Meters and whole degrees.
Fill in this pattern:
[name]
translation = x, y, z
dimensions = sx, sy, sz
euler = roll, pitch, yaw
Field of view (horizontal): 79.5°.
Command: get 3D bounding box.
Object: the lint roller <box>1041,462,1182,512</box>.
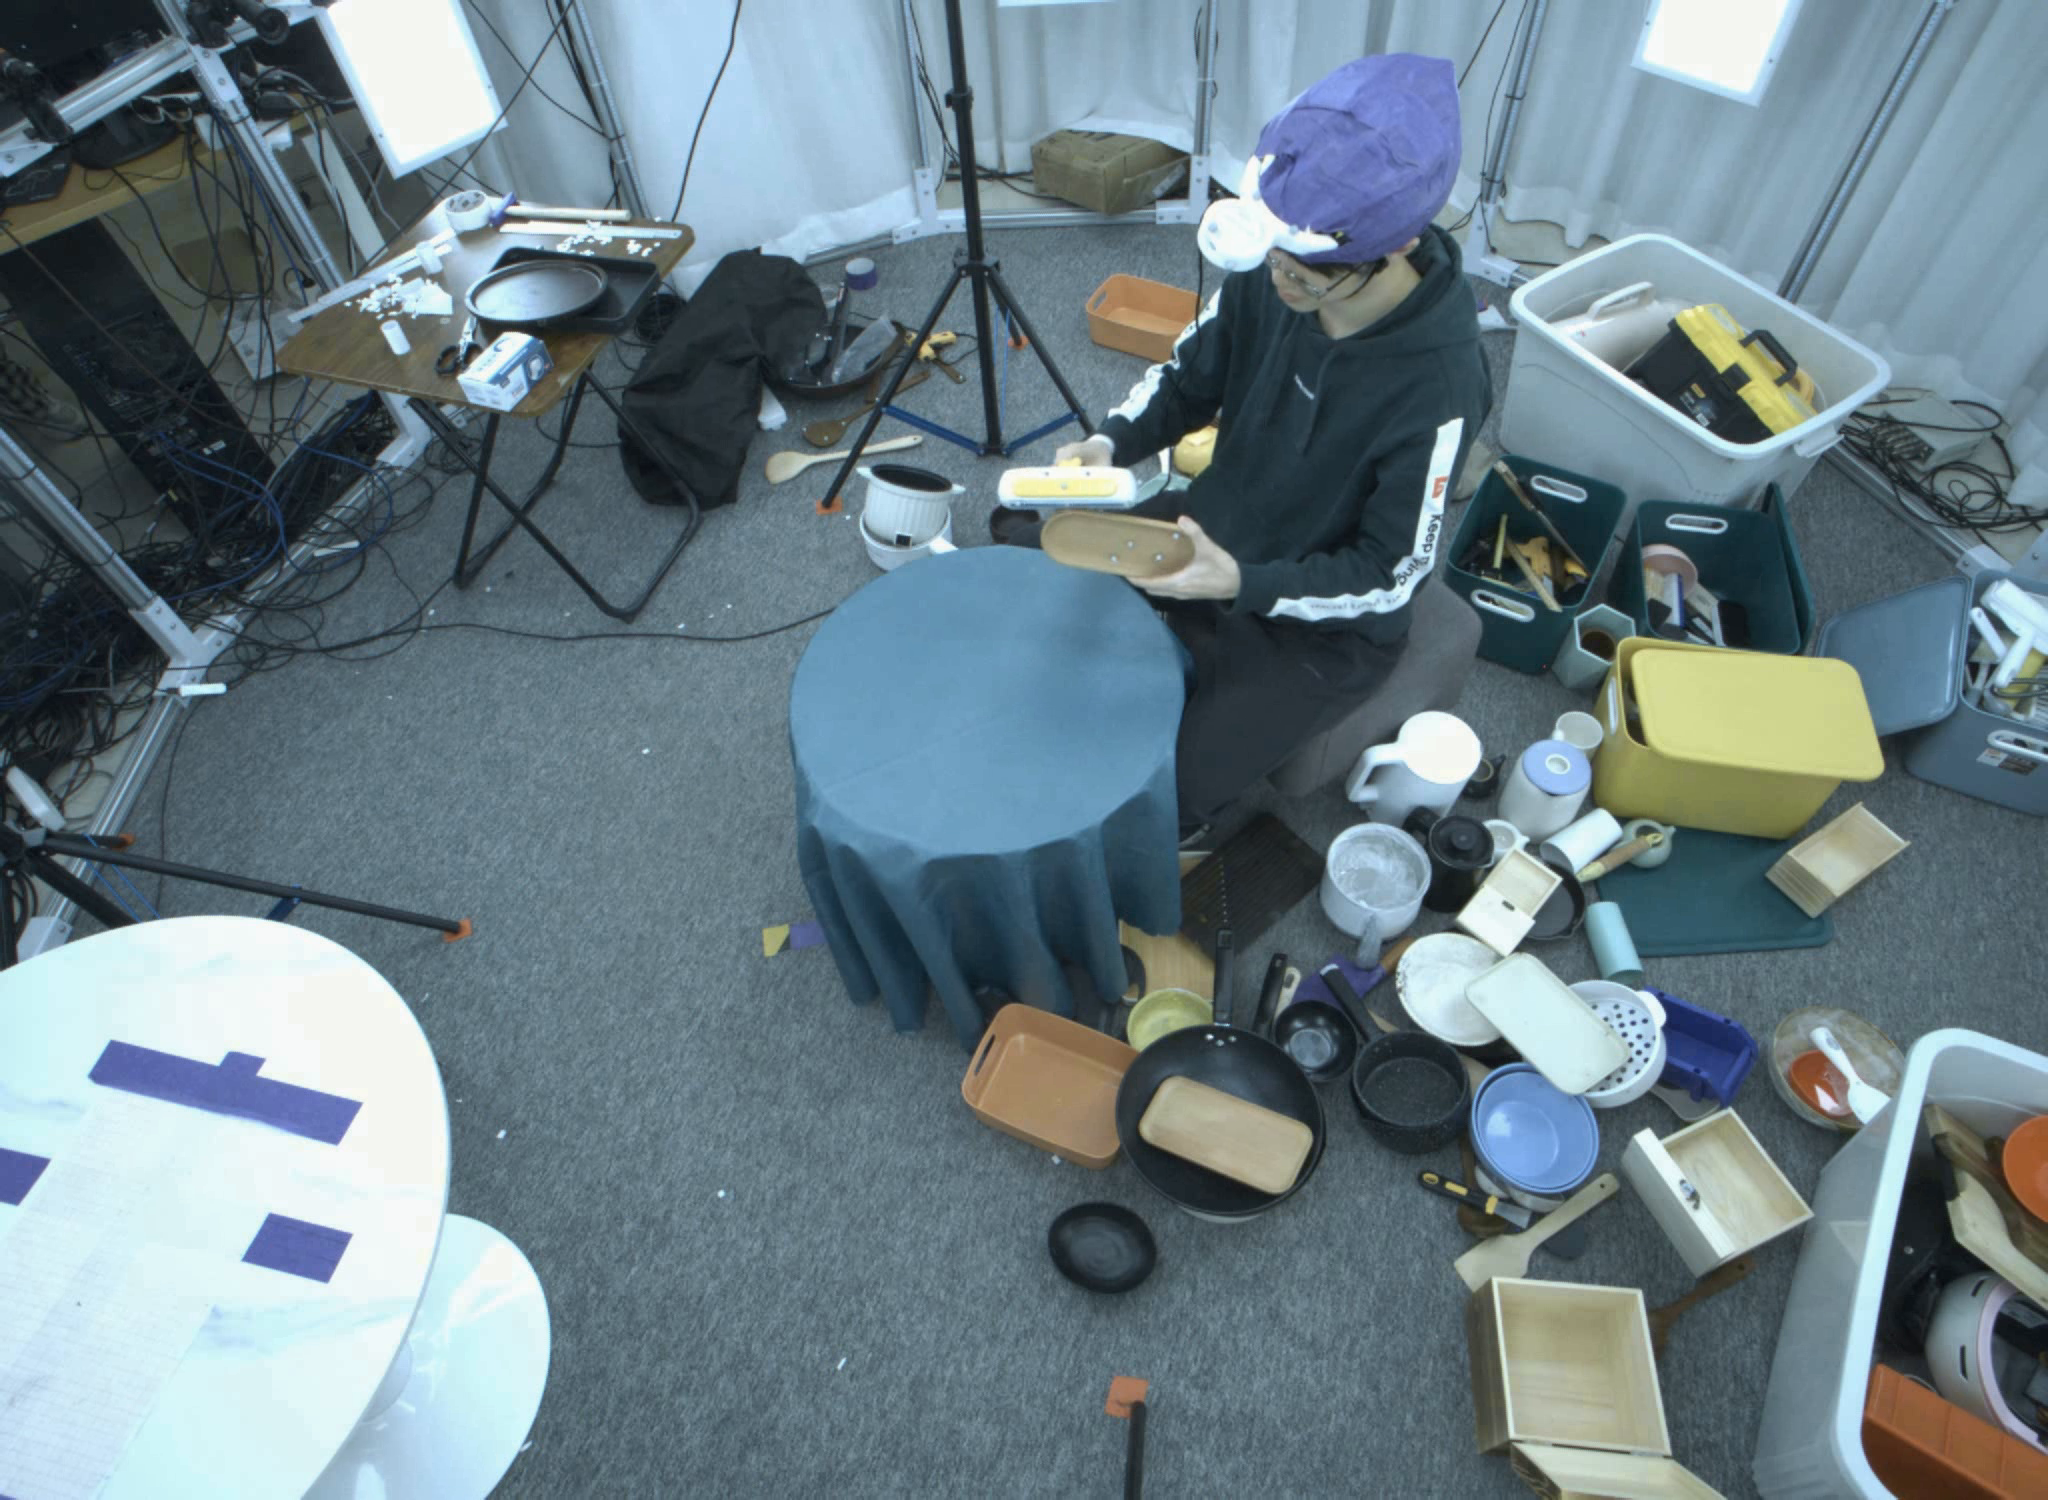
[lint roller]
translation = 0.125, -0.366, 1.735
dimensions = 0.192, 0.193, 0.074
euler = -3, 97, 7

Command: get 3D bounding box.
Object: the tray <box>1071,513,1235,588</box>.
[tray]
translation = 0.181, -0.280, 1.720
dimensions = 0.232, 0.102, 0.020
euler = 10, 50, -5
